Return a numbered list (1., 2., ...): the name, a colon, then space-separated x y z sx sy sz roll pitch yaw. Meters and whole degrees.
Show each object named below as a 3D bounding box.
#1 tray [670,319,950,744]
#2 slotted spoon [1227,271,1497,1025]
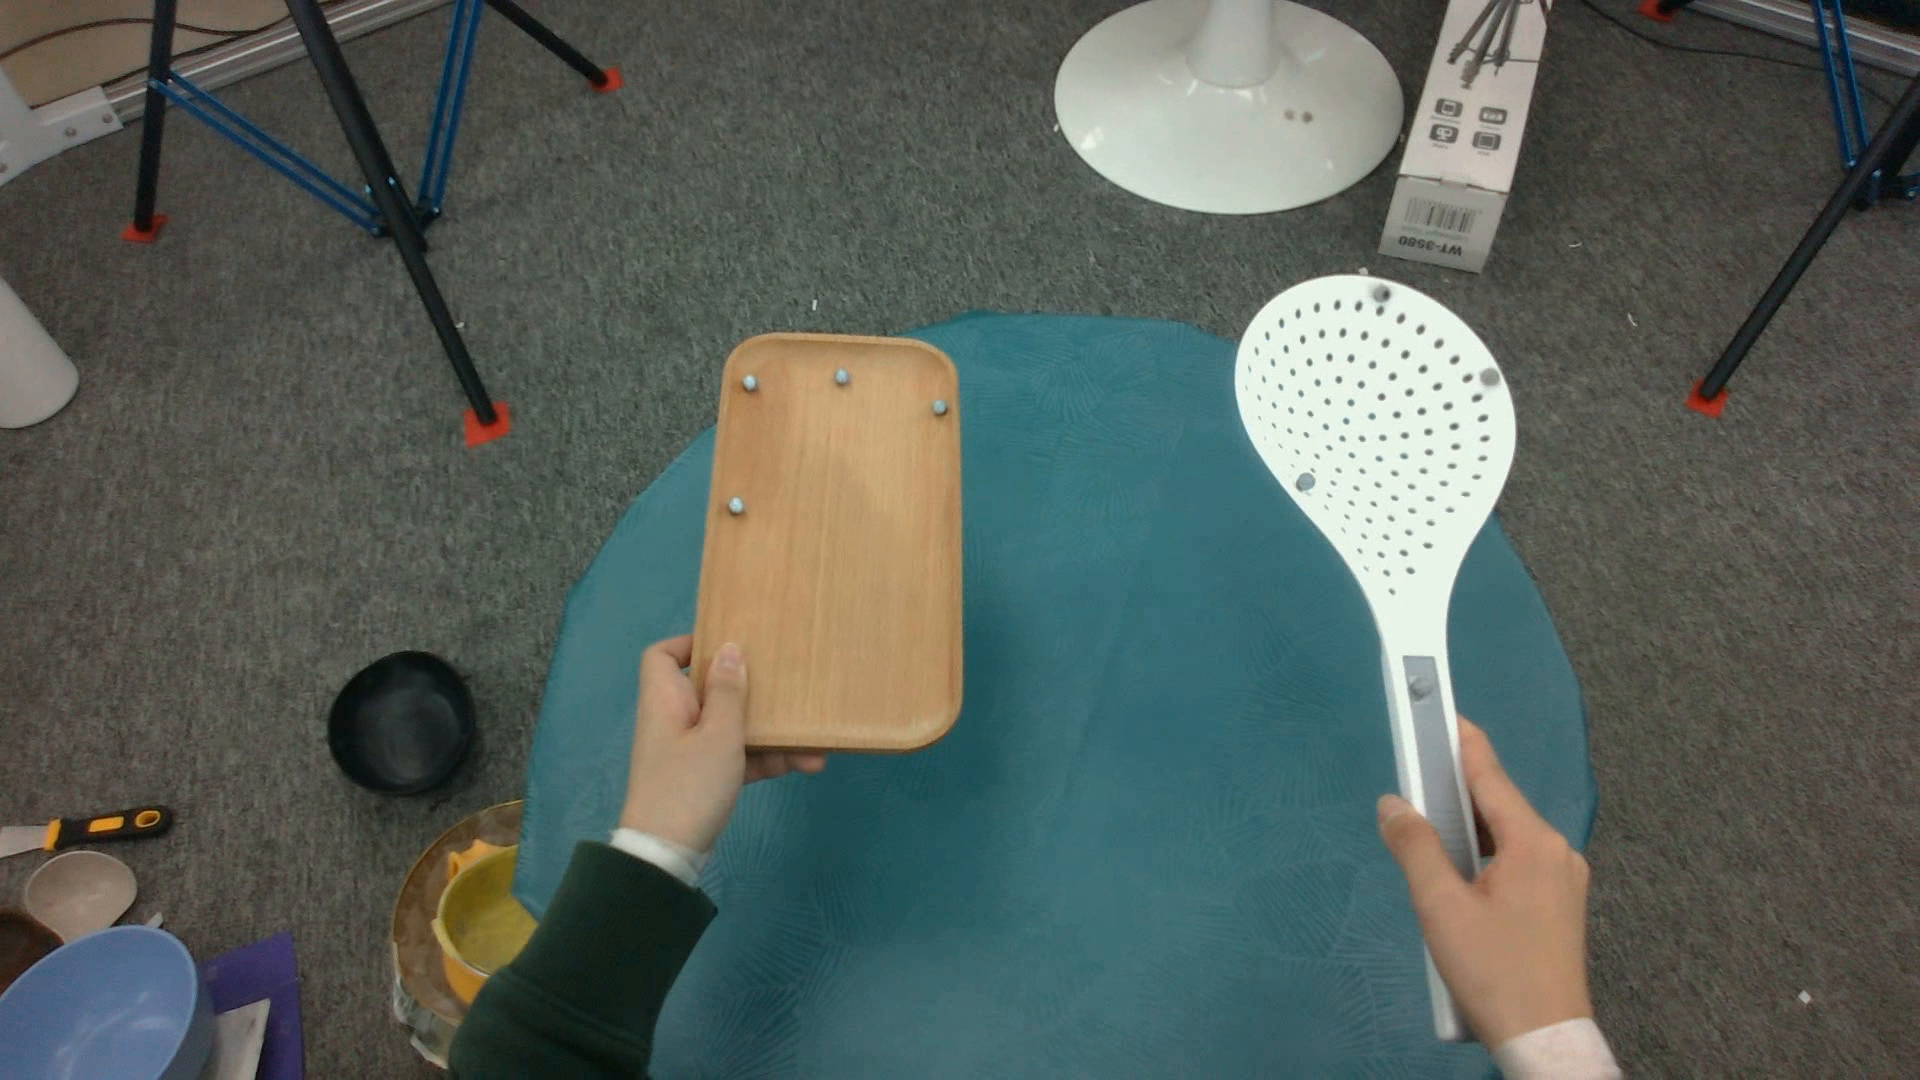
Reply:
1. tray: -0.070 -0.012 0.693 0.130 0.023 0.252 2 57 -3
2. slotted spoon: 0.193 0.032 0.618 0.136 0.045 0.351 3 62 -10
